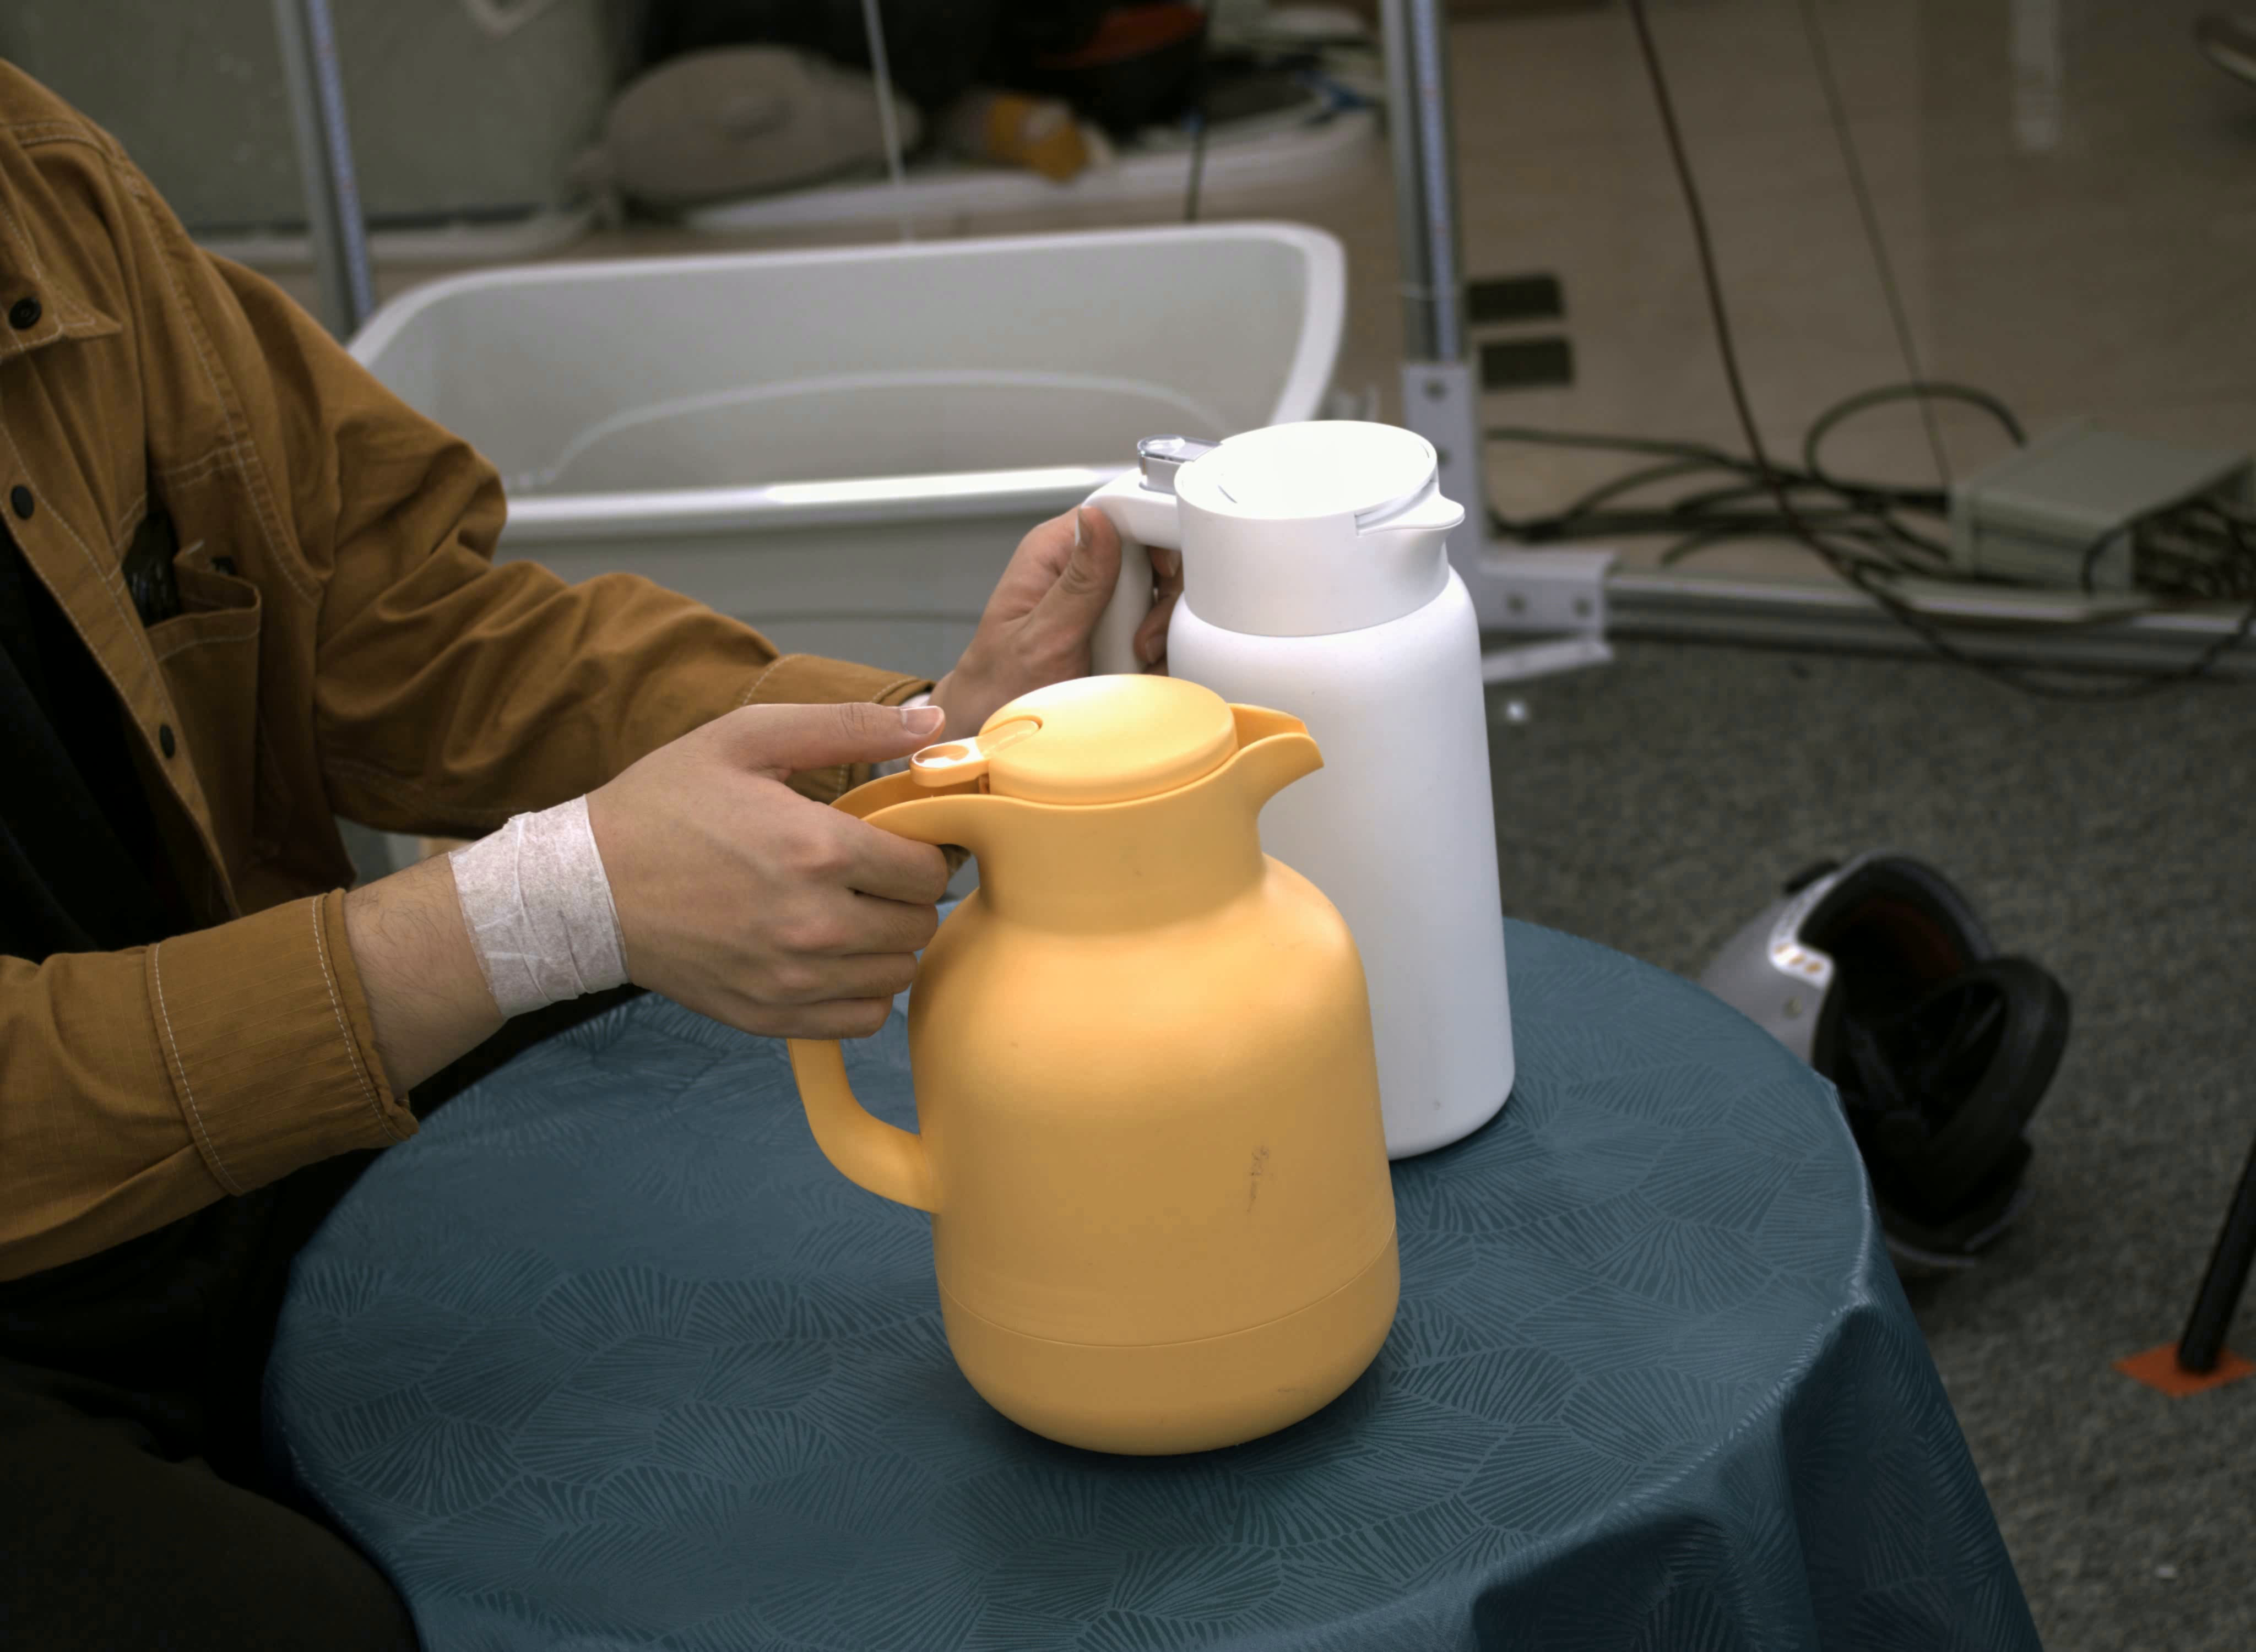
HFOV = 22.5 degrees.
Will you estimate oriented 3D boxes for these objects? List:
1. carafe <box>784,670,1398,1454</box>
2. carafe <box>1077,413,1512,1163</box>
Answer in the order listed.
[{"bbox_3d":[-0.013,0.080,1.965,0.202,0.264,0.161,-8,23,-6],"label":"carafe"},{"bbox_3d":[0.064,-0.015,2.144,0.172,0.273,0.122,13,34,34],"label":"carafe"}]
